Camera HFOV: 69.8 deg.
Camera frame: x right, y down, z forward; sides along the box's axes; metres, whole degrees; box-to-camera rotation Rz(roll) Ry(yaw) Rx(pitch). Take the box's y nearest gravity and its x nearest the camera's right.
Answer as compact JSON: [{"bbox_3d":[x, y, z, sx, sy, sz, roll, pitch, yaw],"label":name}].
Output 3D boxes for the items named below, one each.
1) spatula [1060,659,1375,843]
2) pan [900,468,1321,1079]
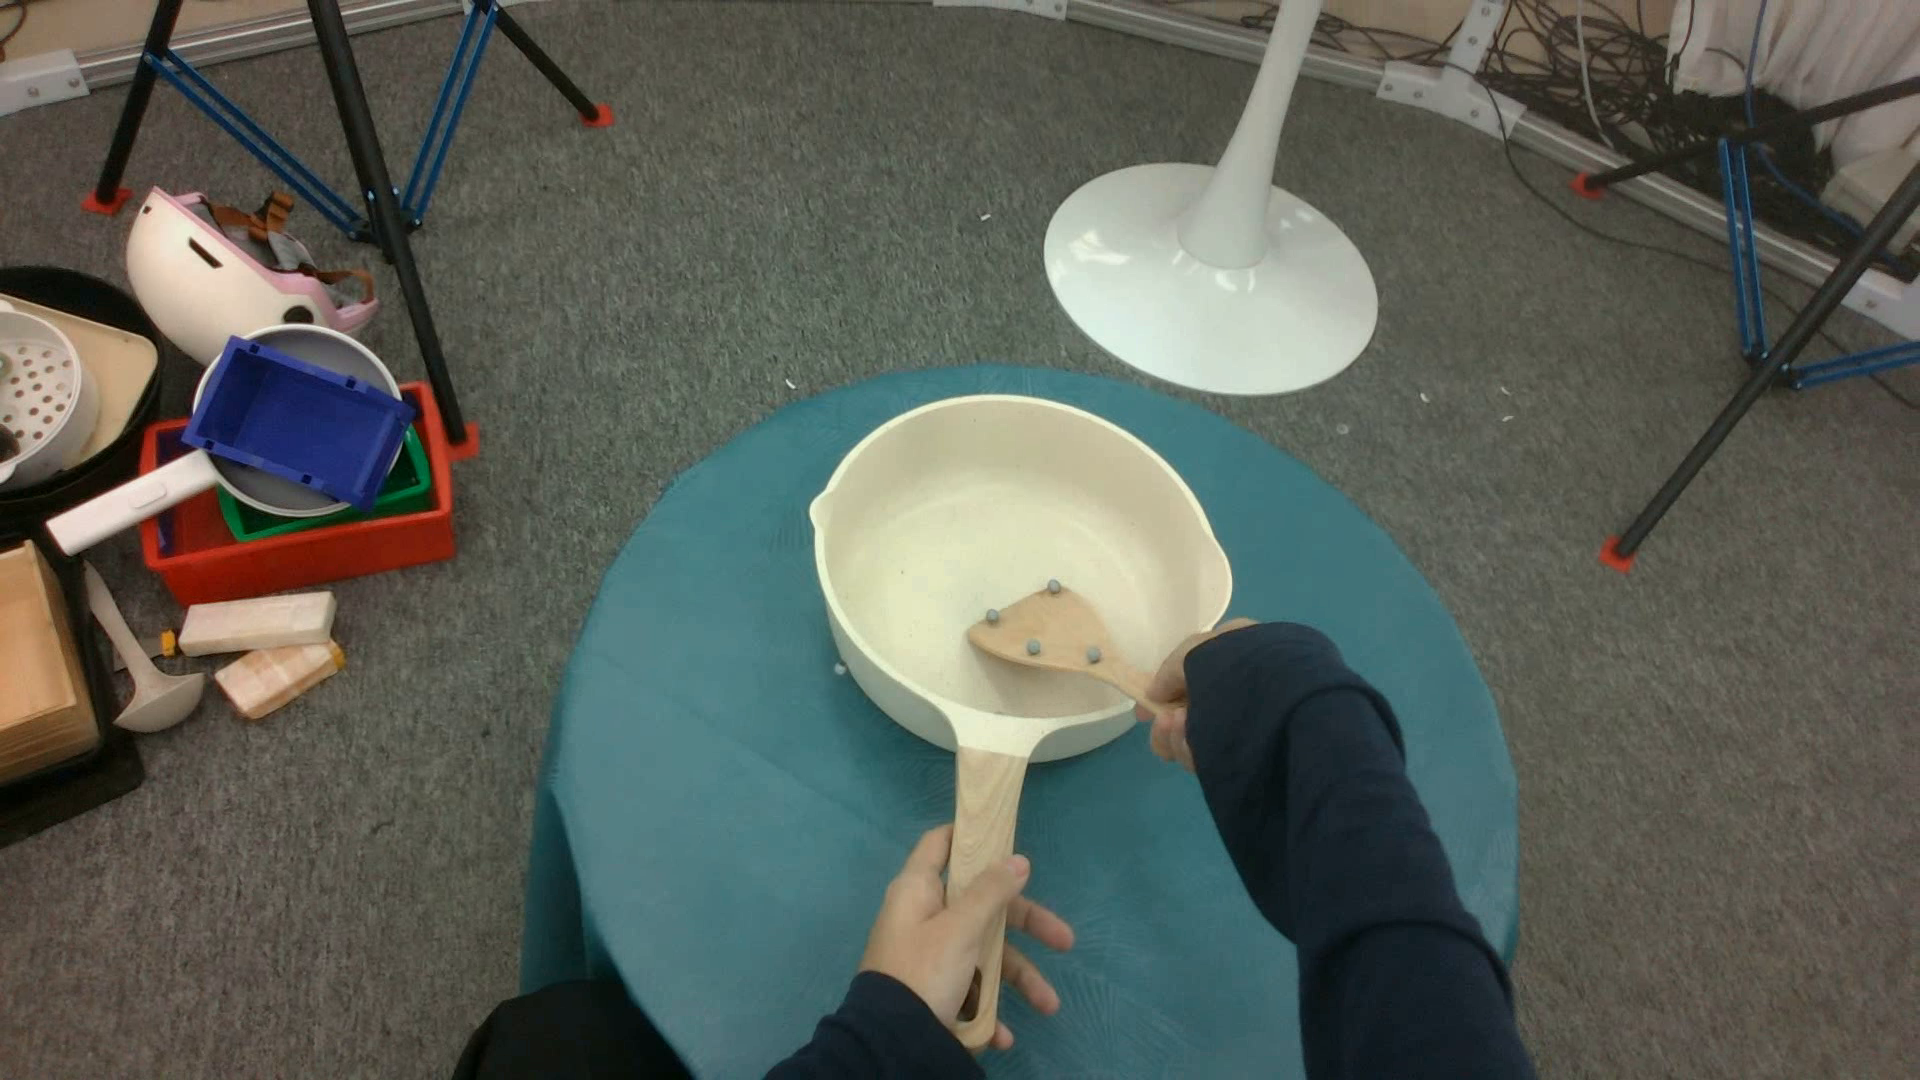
[{"bbox_3d":[0.135,0.111,0.760,0.080,0.016,0.327,-19,9,-11],"label":"spatula"},{"bbox_3d":[0.073,0.138,0.813,0.263,0.101,0.437,11,50,3],"label":"pan"}]
